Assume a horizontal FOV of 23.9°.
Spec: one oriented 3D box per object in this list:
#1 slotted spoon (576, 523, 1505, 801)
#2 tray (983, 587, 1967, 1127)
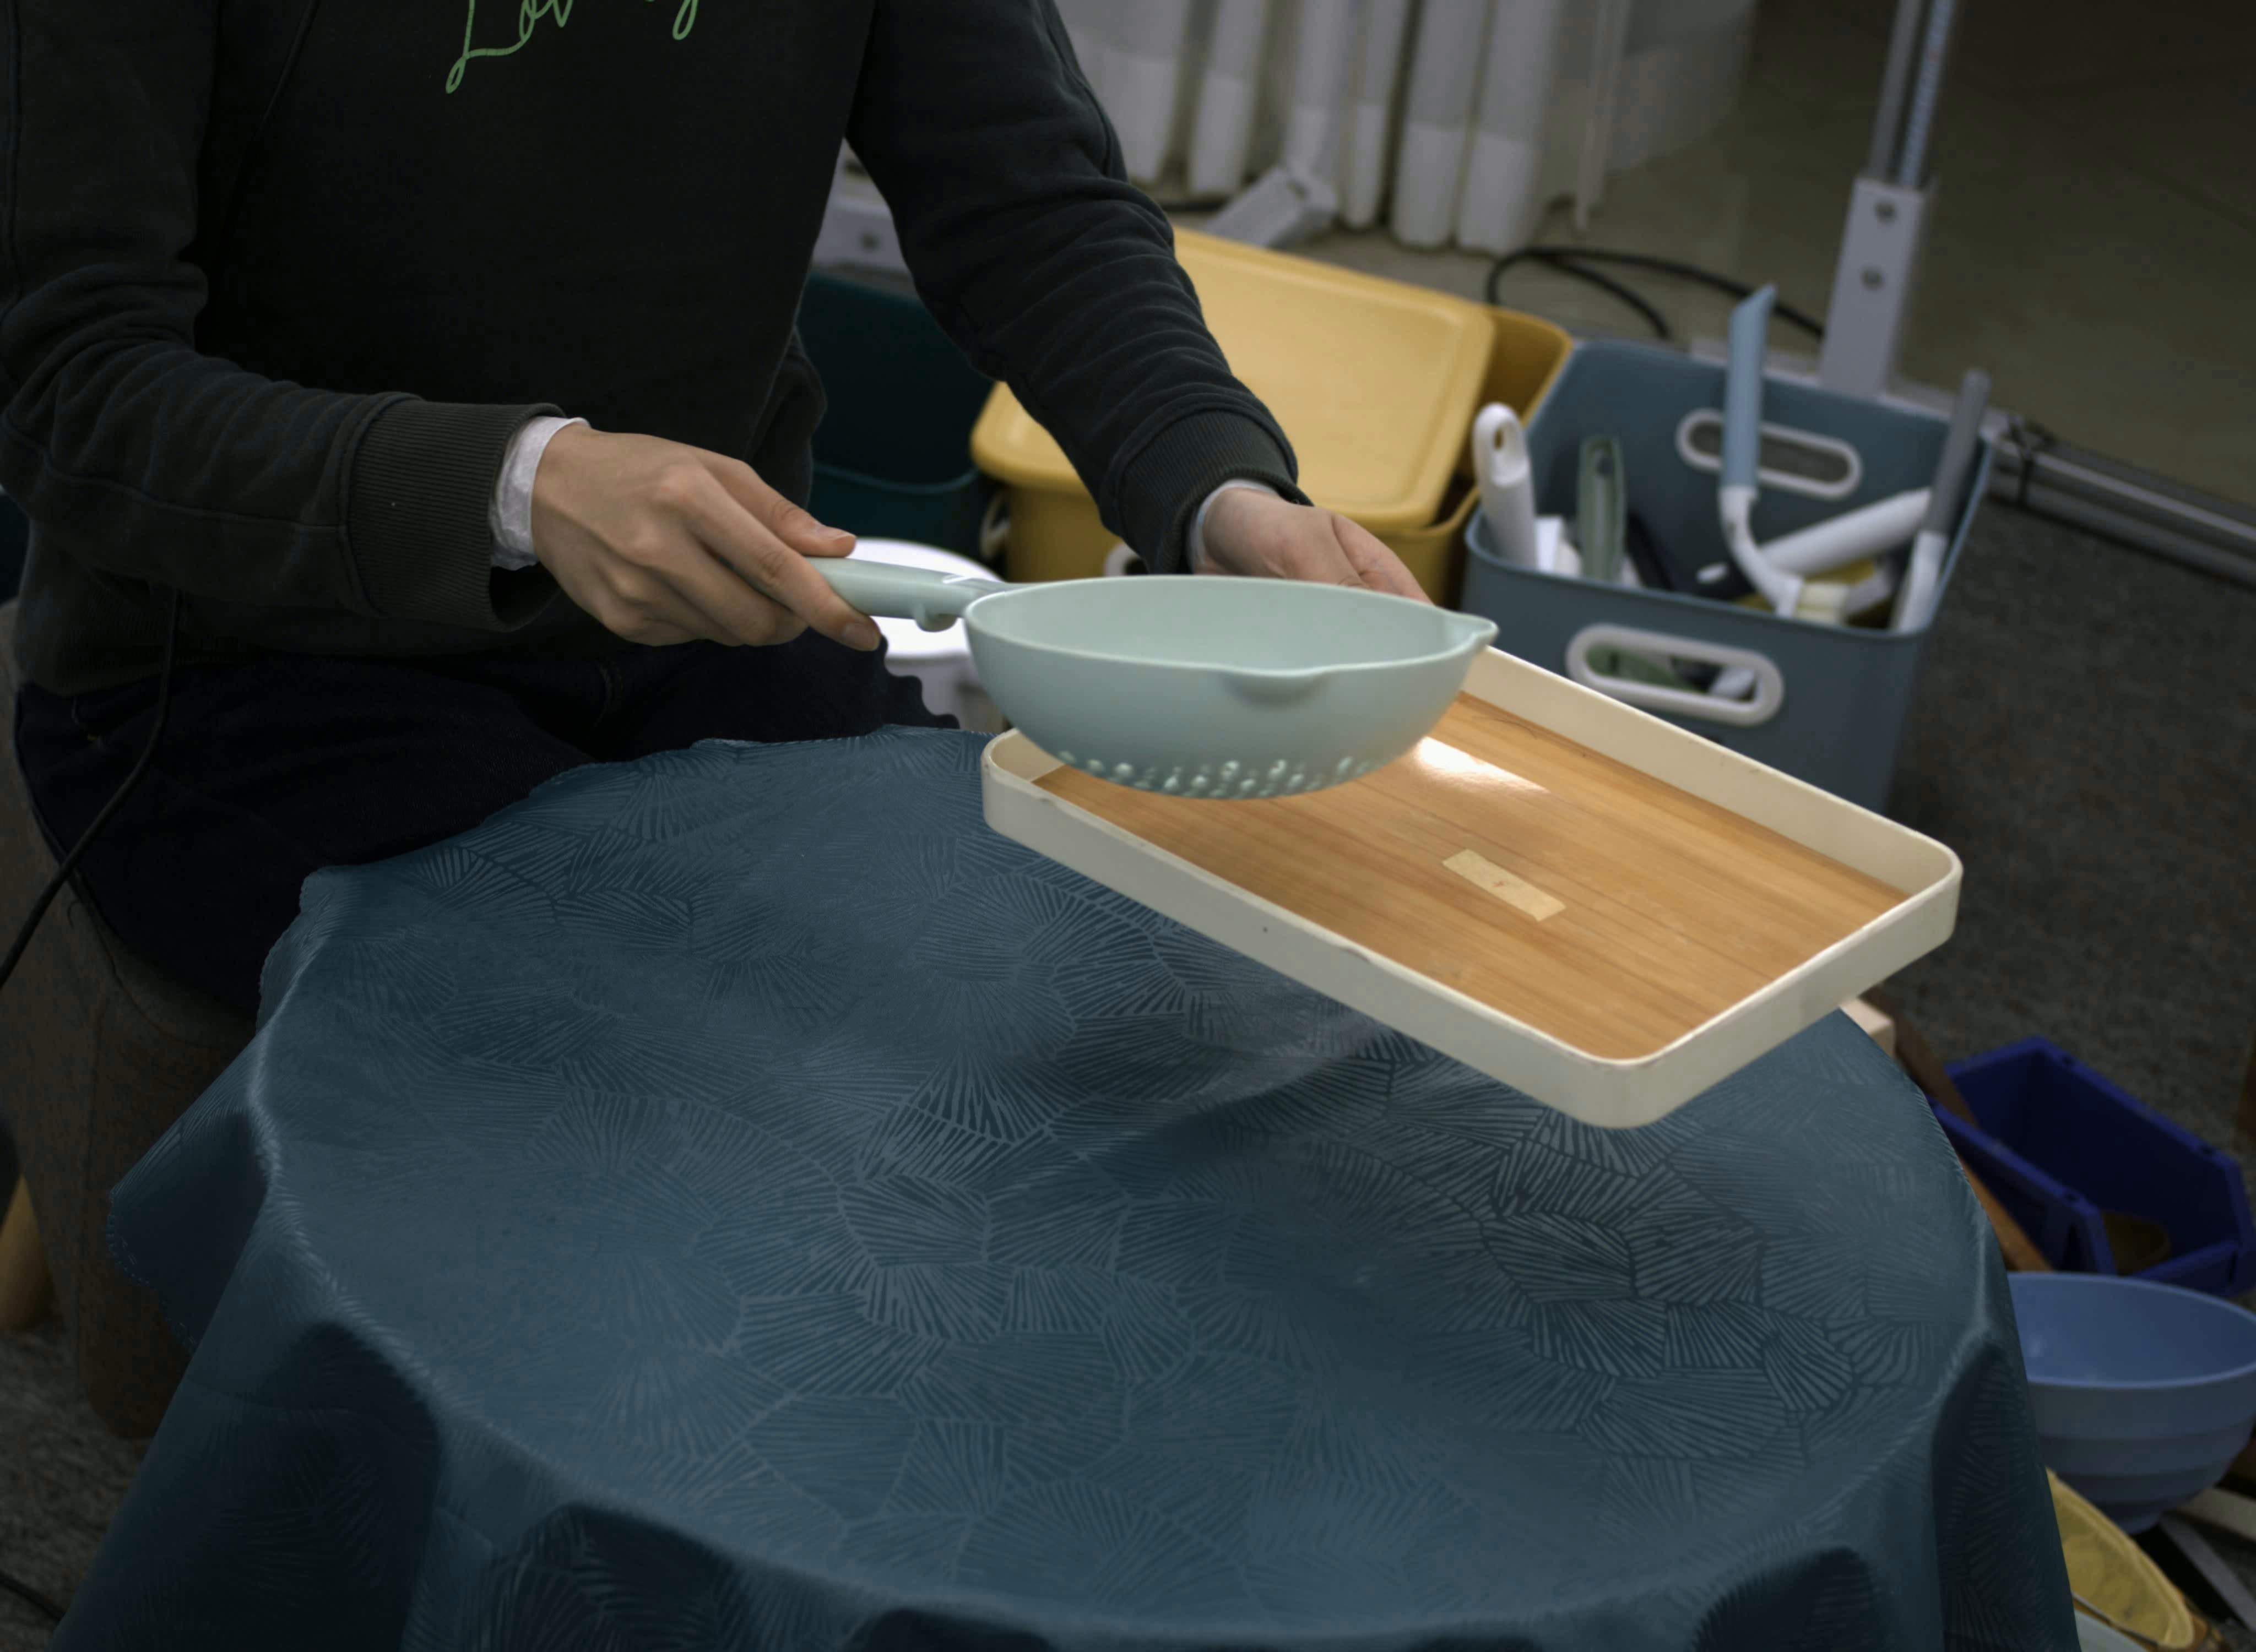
[{"bbox_3d":[-0.047,-0.071,1.810,0.361,0.075,0.168,20,17,32],"label":"slotted spoon"},{"bbox_3d":[0.115,0.005,1.812,0.302,0.027,0.191,26,39,38],"label":"tray"}]
